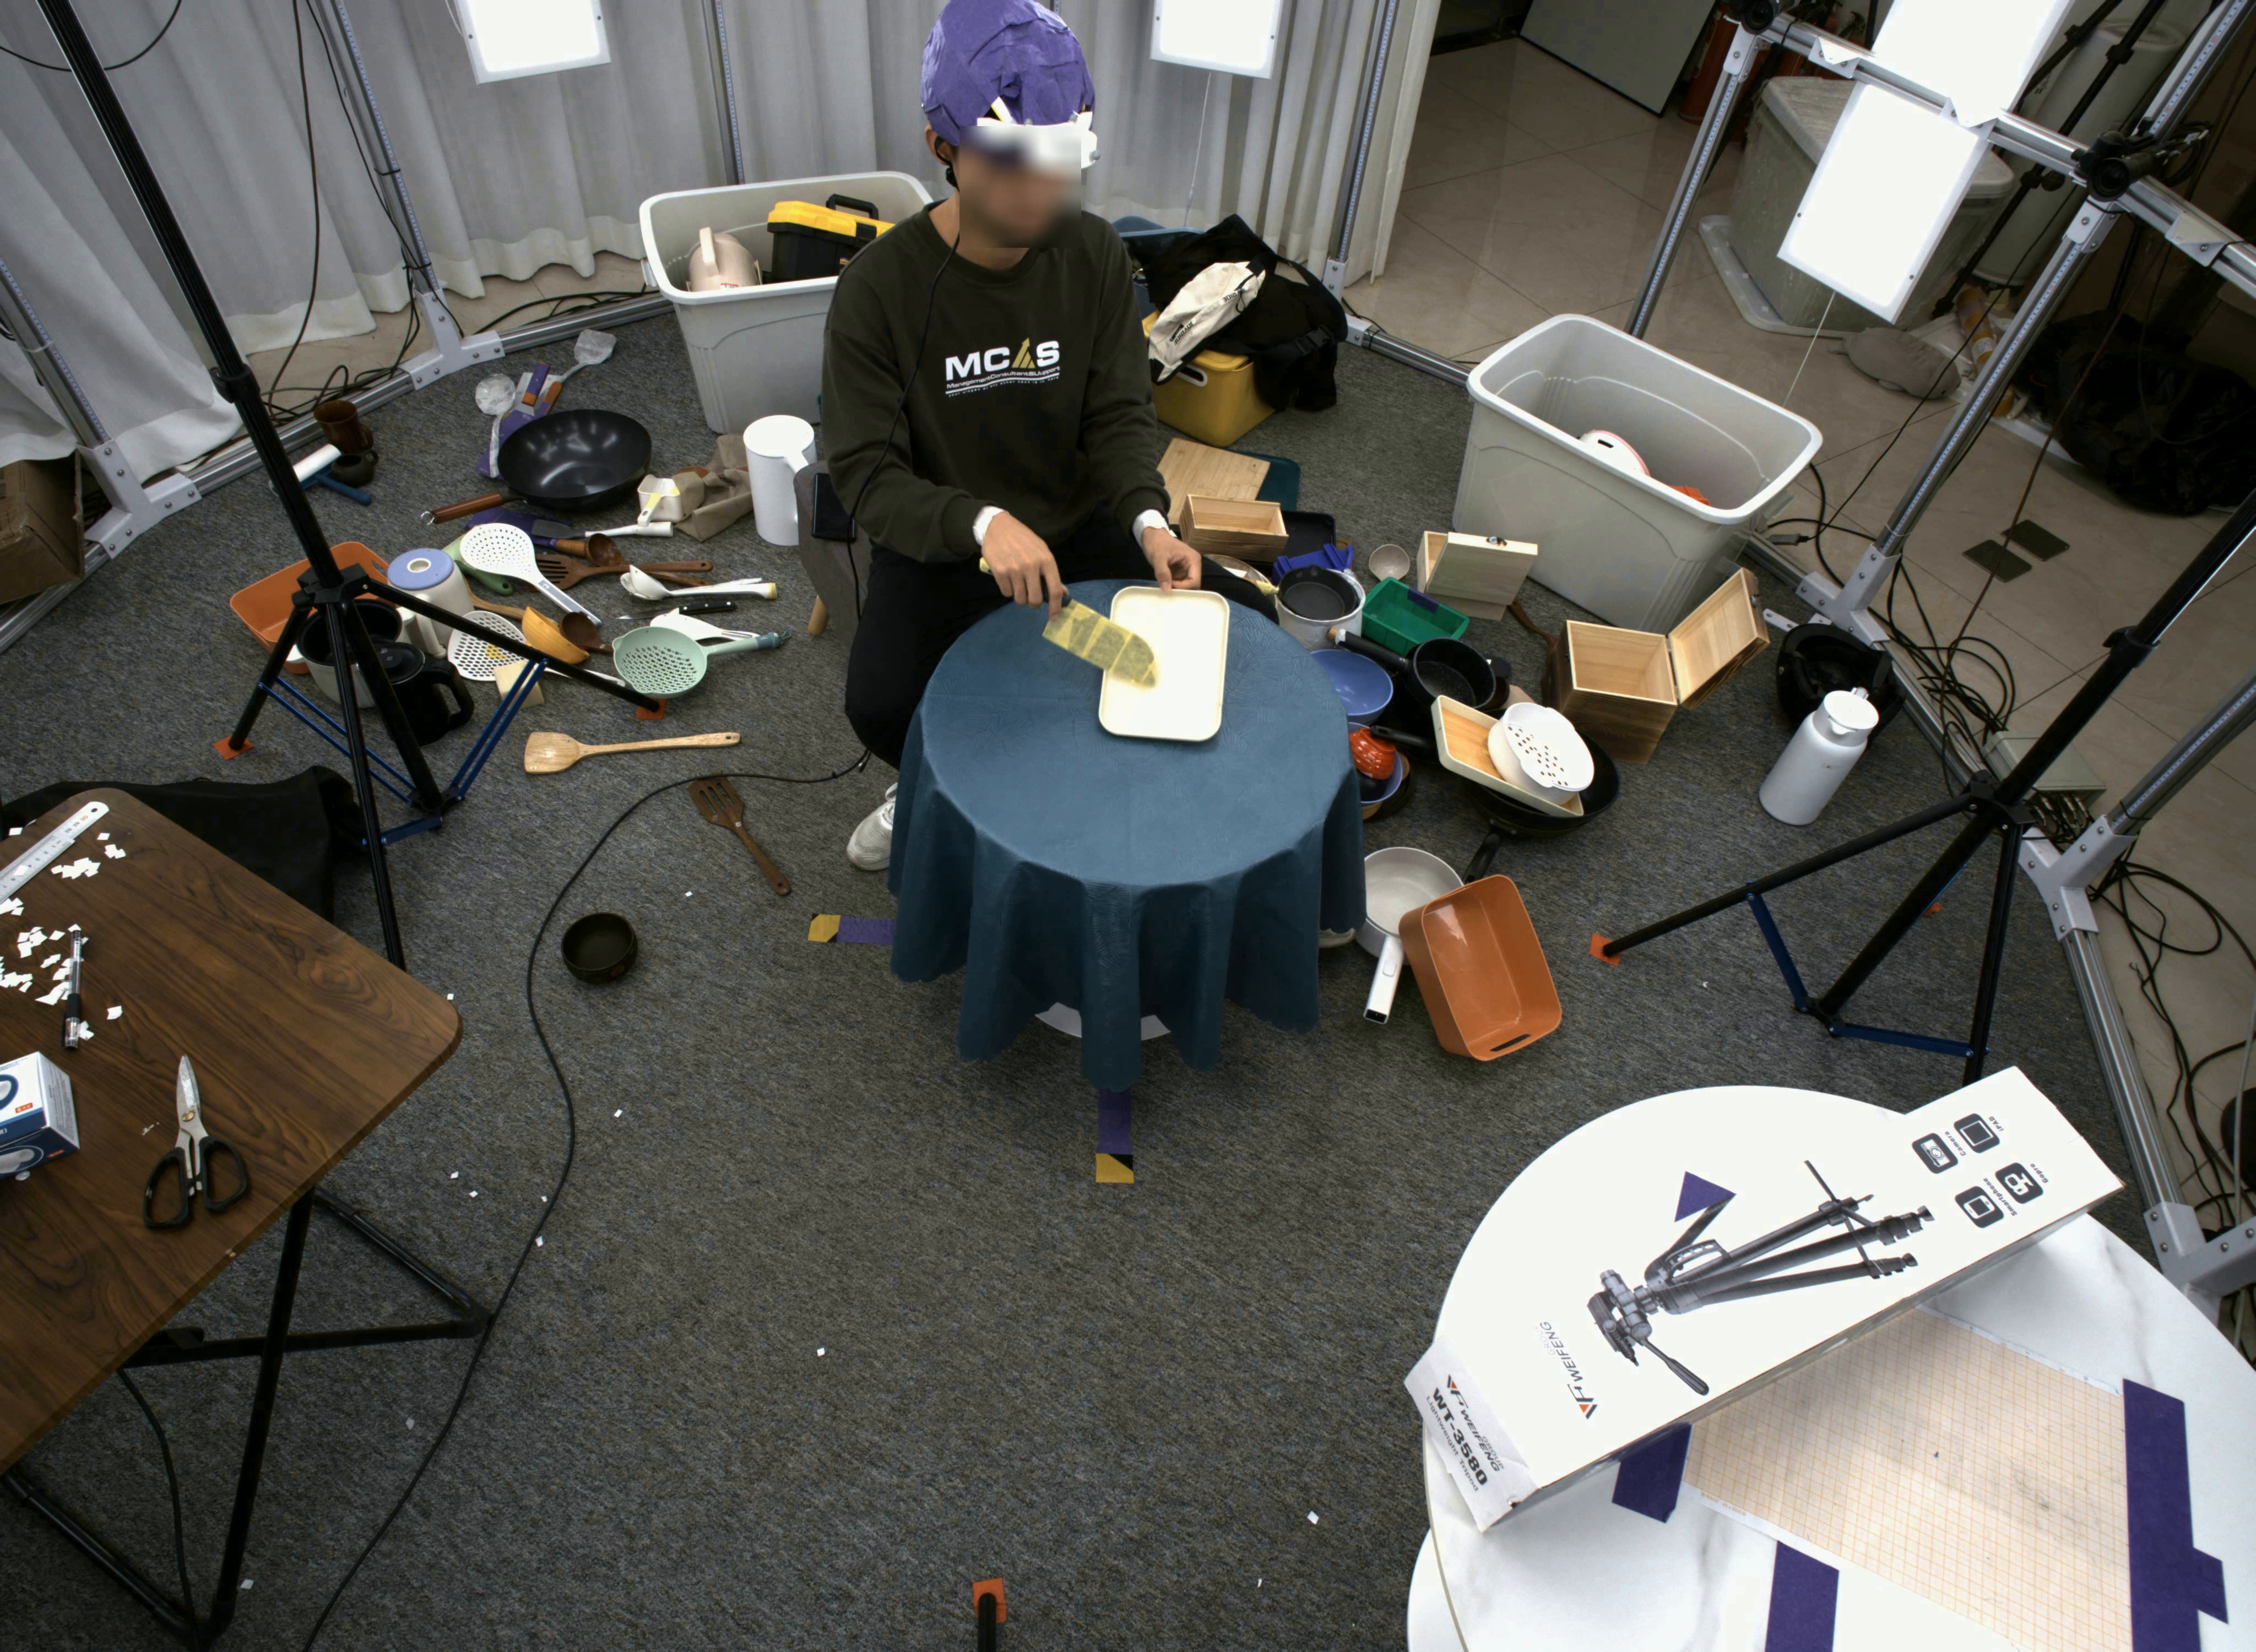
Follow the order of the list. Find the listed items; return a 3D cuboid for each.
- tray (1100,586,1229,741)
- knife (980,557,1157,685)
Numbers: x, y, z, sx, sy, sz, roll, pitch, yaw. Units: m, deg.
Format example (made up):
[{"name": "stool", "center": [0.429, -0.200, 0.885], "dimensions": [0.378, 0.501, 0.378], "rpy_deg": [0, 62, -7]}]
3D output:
[{"name": "tray", "center": [0.053, -0.230, 1.814], "dimensions": [0.171, 0.017, 0.244], "rpy_deg": [4, 66, 5]}, {"name": "knife", "center": [-0.083, -0.280, 1.776], "dimensions": [0.289, 0.080, 0.028], "rpy_deg": [32, 30, -3]}]
